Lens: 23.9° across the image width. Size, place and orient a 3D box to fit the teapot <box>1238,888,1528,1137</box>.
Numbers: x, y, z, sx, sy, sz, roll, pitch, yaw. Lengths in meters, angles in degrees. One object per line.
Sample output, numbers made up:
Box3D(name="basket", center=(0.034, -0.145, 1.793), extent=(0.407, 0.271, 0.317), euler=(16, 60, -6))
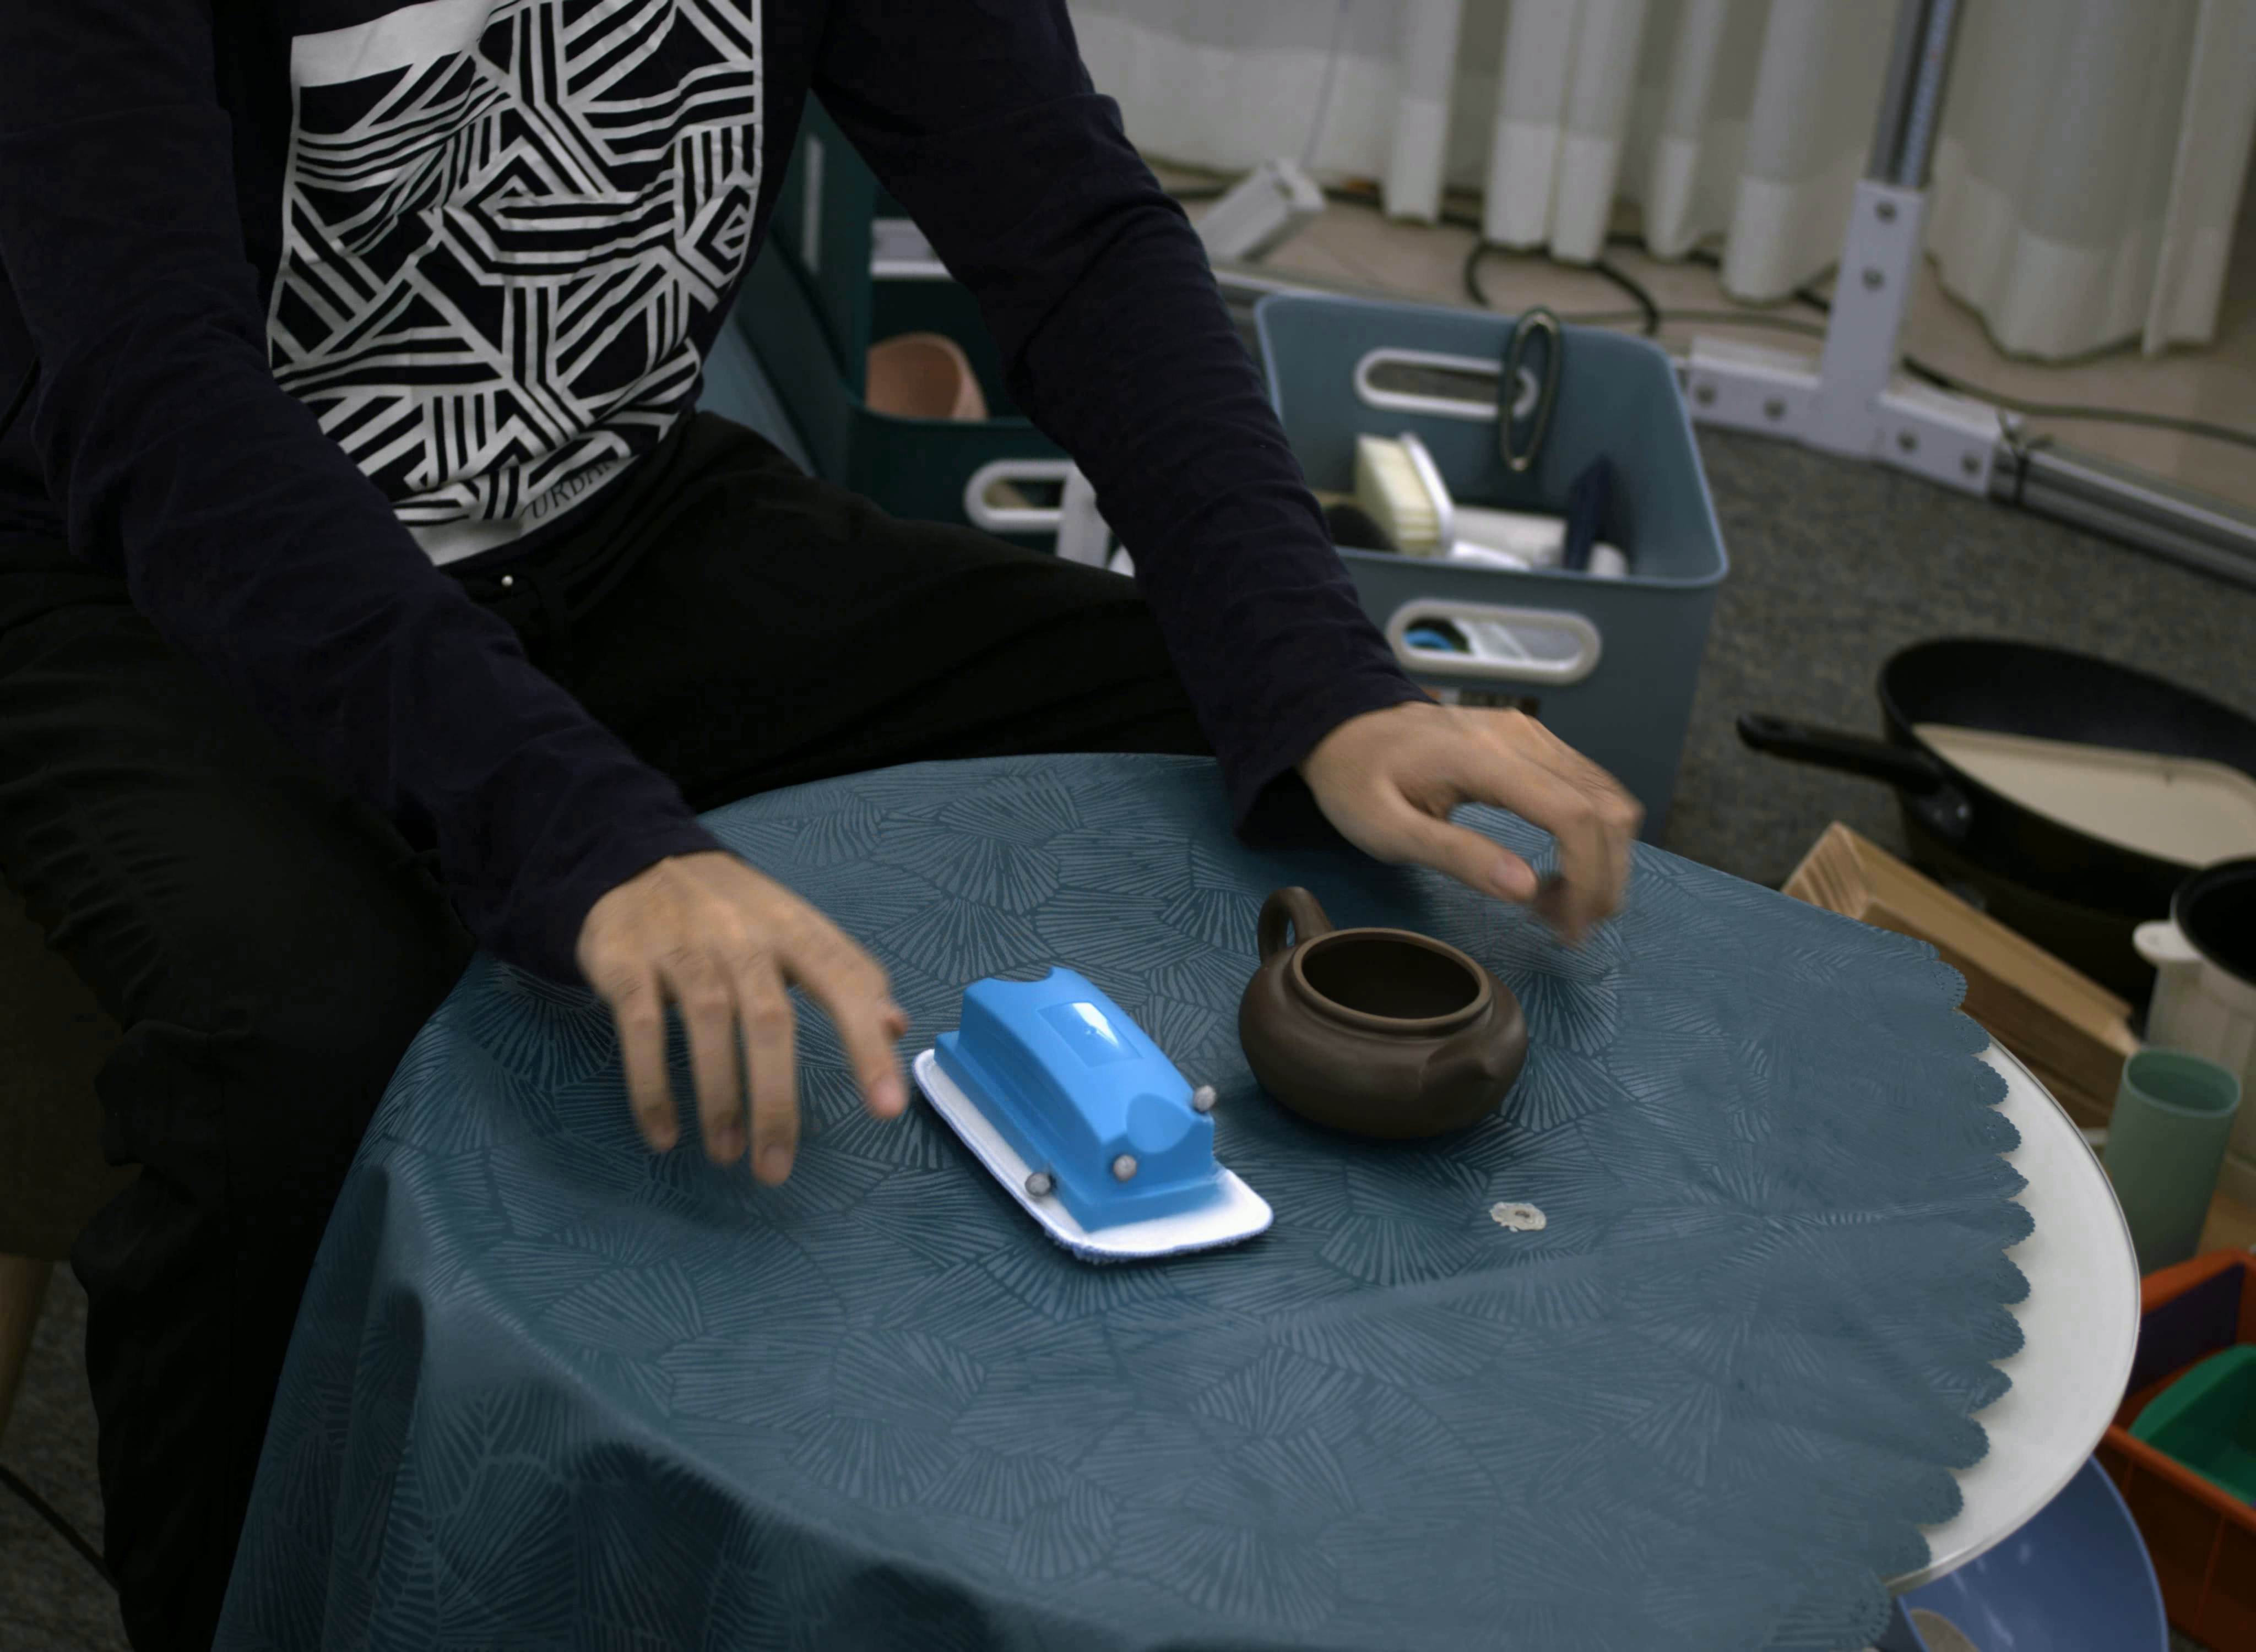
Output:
Box3D(name="teapot", center=(0.087, 0.069, 1.875), extent=(0.102, 0.053, 0.155), euler=(-11, 32, -33))

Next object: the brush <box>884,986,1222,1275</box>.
Box3D(name="brush", center=(-0.022, 0.099, 1.811), extent=(0.083, 0.056, 0.145), euler=(1, 28, -27))
